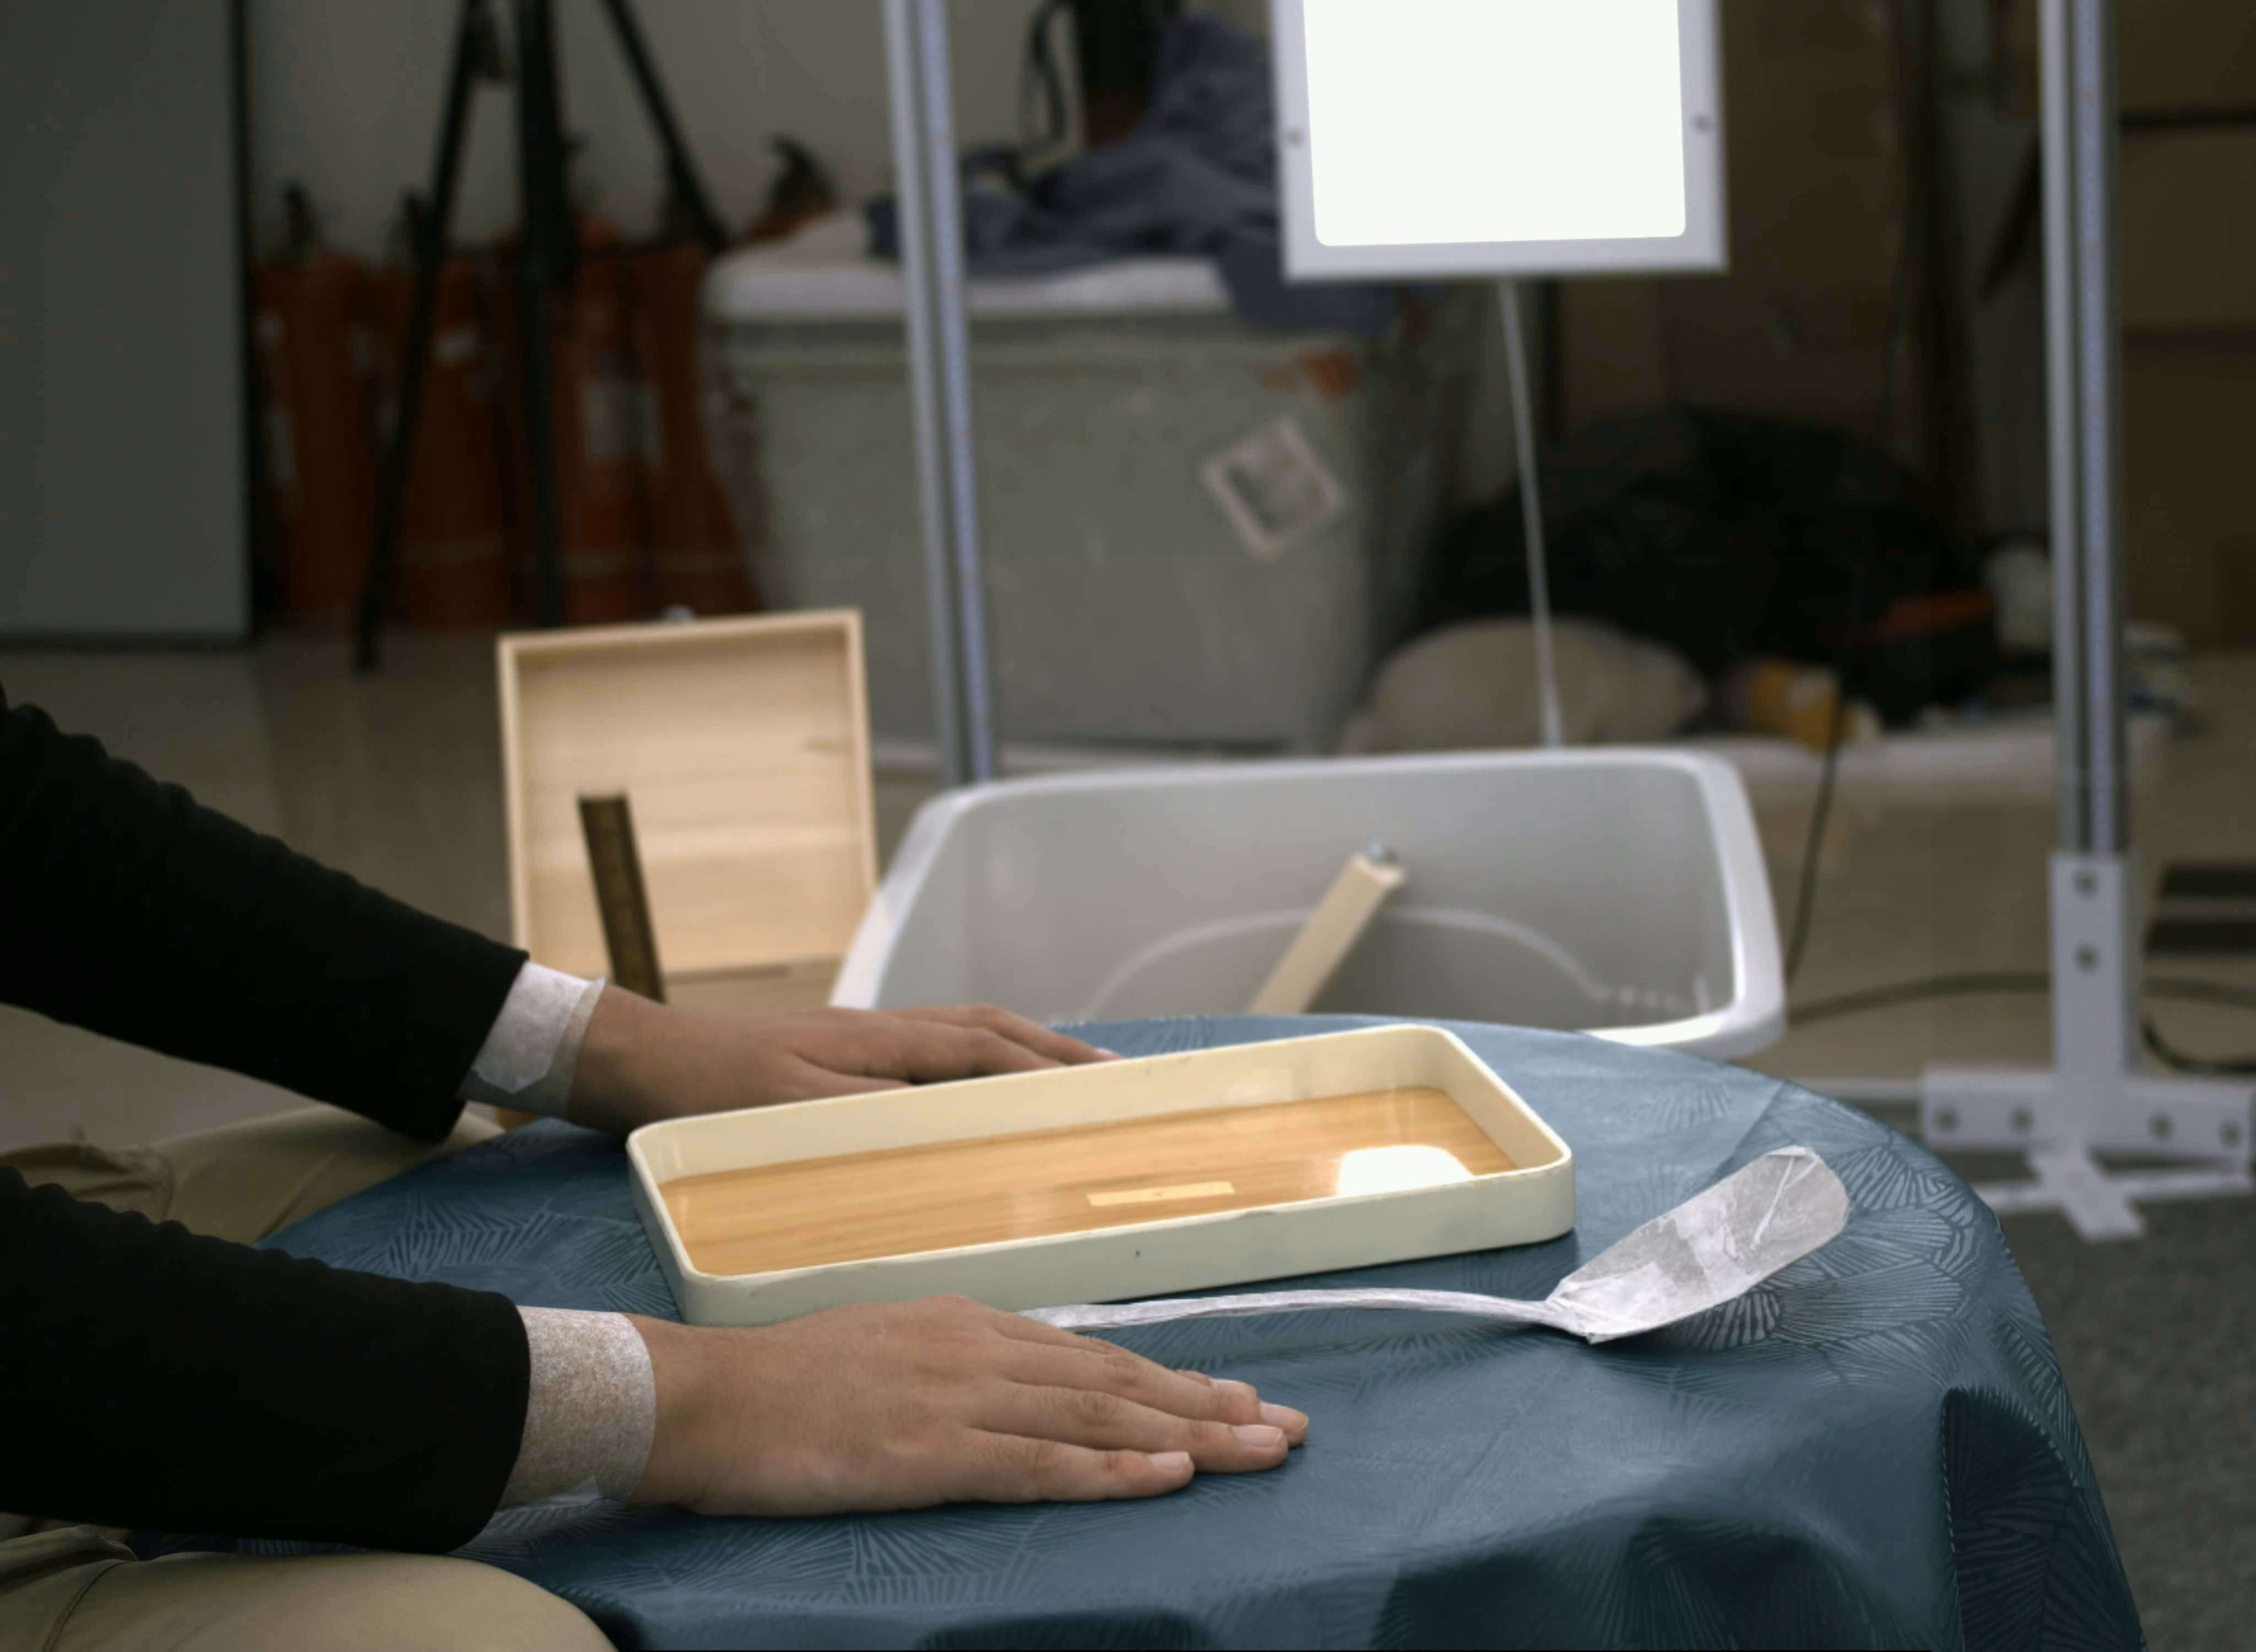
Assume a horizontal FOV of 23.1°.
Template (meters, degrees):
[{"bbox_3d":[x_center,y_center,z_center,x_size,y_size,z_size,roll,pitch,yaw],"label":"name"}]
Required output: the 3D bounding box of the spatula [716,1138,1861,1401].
[{"bbox_3d":[0.050,0.145,1.724,0.364,0.045,0.098,-5,14,0],"label":"spatula"}]

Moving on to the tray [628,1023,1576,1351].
[{"bbox_3d":[-0.012,0.120,1.872,0.297,0.027,0.192,-7,14,-8],"label":"tray"}]
